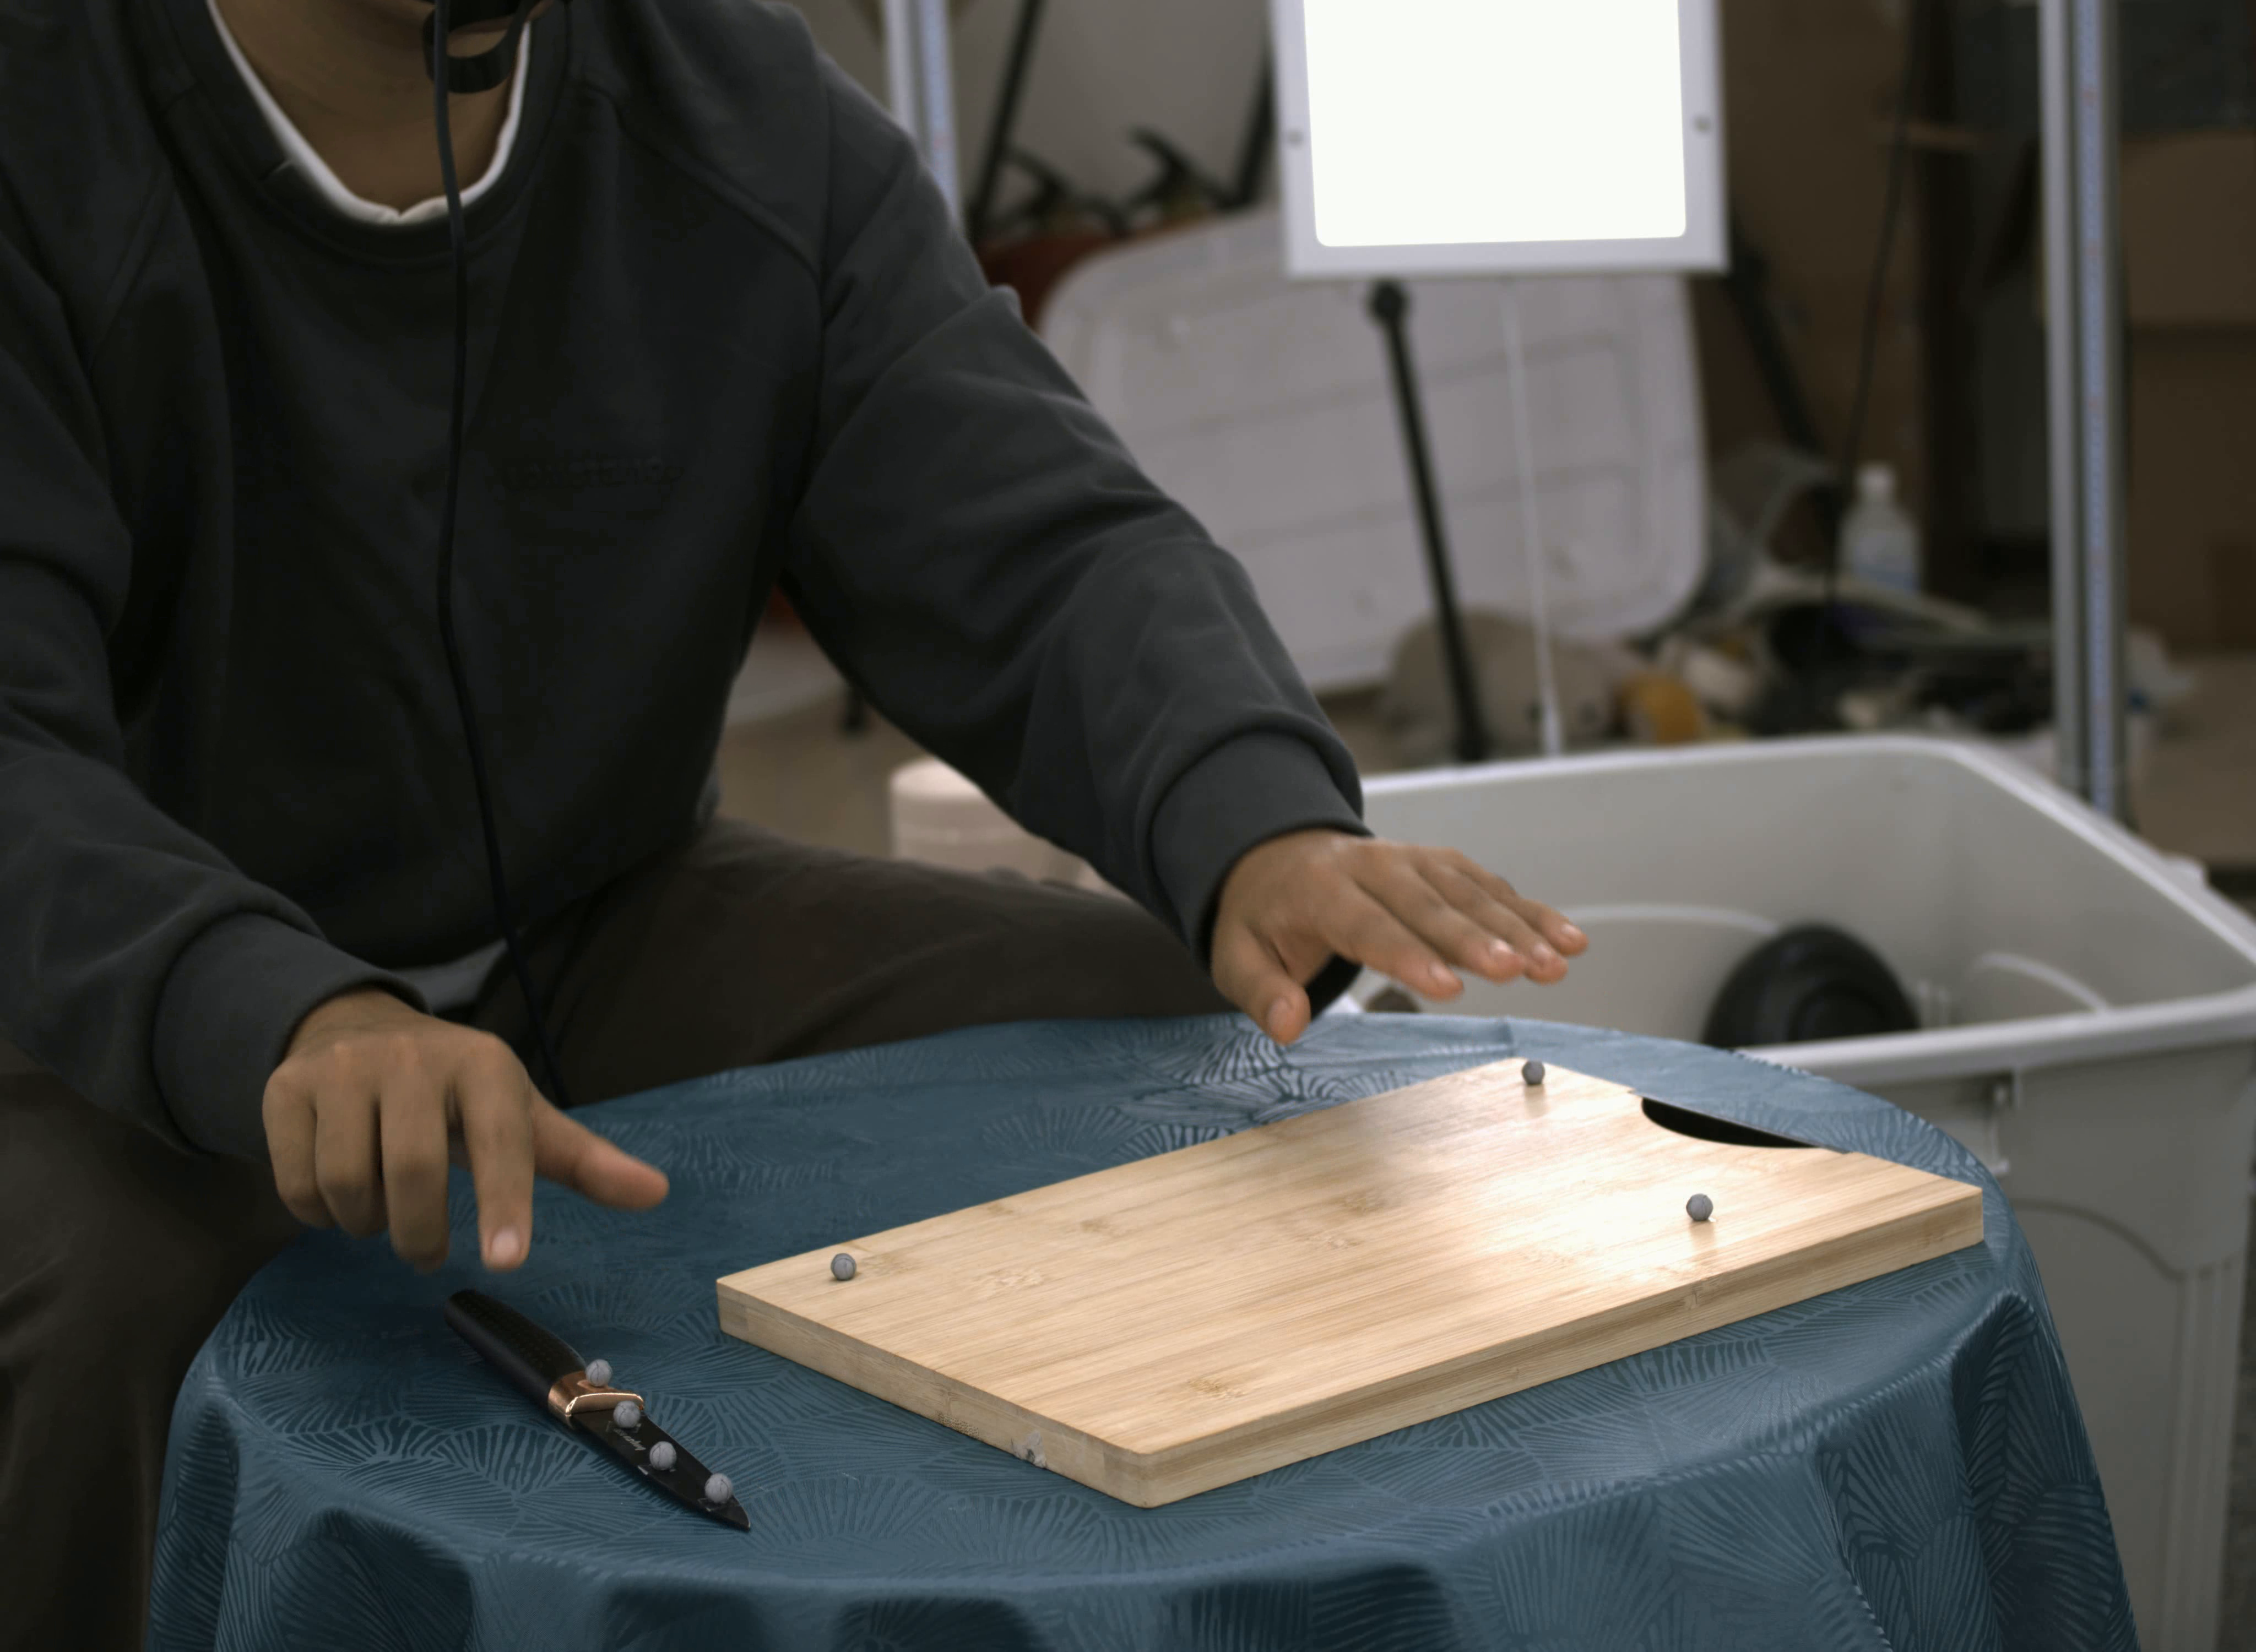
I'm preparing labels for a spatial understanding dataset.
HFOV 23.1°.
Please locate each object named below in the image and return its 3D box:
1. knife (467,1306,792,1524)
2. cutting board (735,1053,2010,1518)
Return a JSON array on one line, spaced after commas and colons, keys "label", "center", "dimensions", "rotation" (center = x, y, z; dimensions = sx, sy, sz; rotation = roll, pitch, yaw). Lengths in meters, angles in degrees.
[{"label": "knife", "center": [-0.156, 0.182, 1.703], "dimensions": [0.025, 0.017, 0.229], "rotation": [-4, 12, -27]}, {"label": "cutting board", "center": [0.078, 0.140, 1.779], "dimensions": [0.340, 0.023, 0.256], "rotation": [-14, 16, -33]}]
